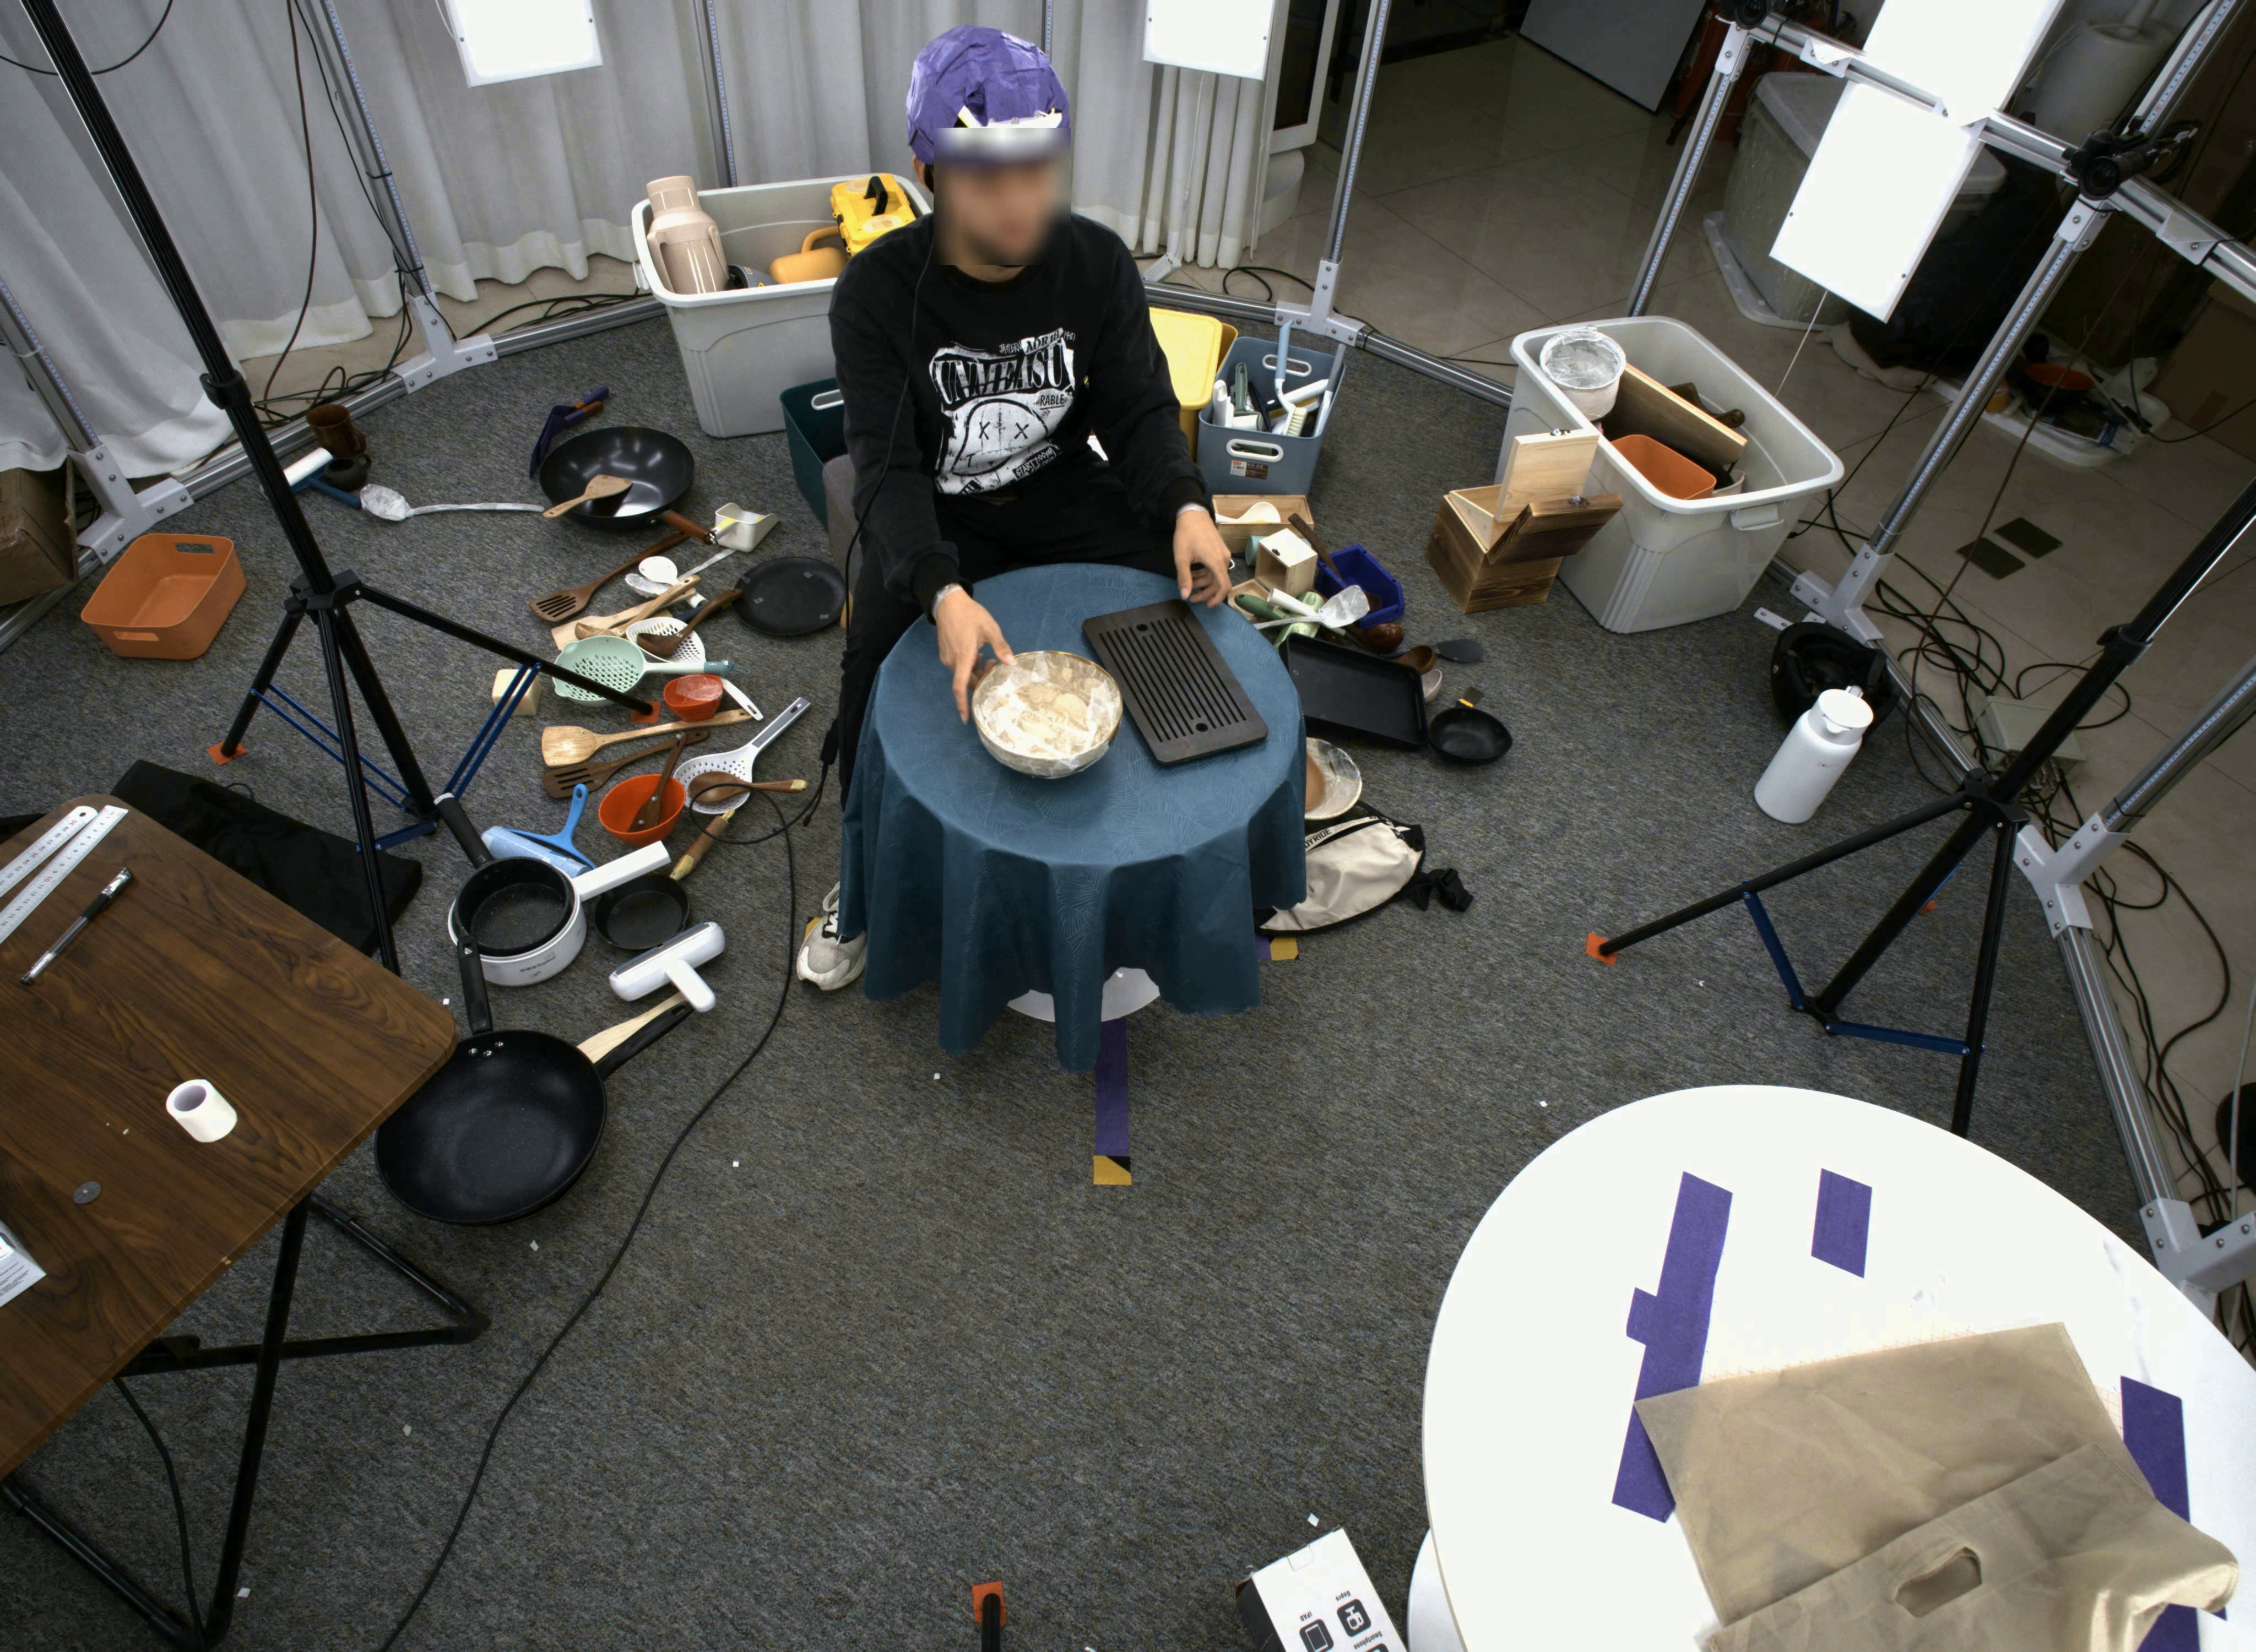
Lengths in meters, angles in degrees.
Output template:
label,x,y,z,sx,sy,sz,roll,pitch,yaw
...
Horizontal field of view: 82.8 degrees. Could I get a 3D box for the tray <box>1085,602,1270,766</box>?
label,x,y,z,sx,sy,sz,roll,pitch,yaw
tray,0.067,-0.210,1.861,0.170,0.018,0.313,-15,51,-16

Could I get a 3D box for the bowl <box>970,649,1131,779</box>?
label,x,y,z,sx,sy,sz,roll,pitch,yaw
bowl,-0.105,-0.137,1.736,0.214,0.092,0.220,1,49,-1
